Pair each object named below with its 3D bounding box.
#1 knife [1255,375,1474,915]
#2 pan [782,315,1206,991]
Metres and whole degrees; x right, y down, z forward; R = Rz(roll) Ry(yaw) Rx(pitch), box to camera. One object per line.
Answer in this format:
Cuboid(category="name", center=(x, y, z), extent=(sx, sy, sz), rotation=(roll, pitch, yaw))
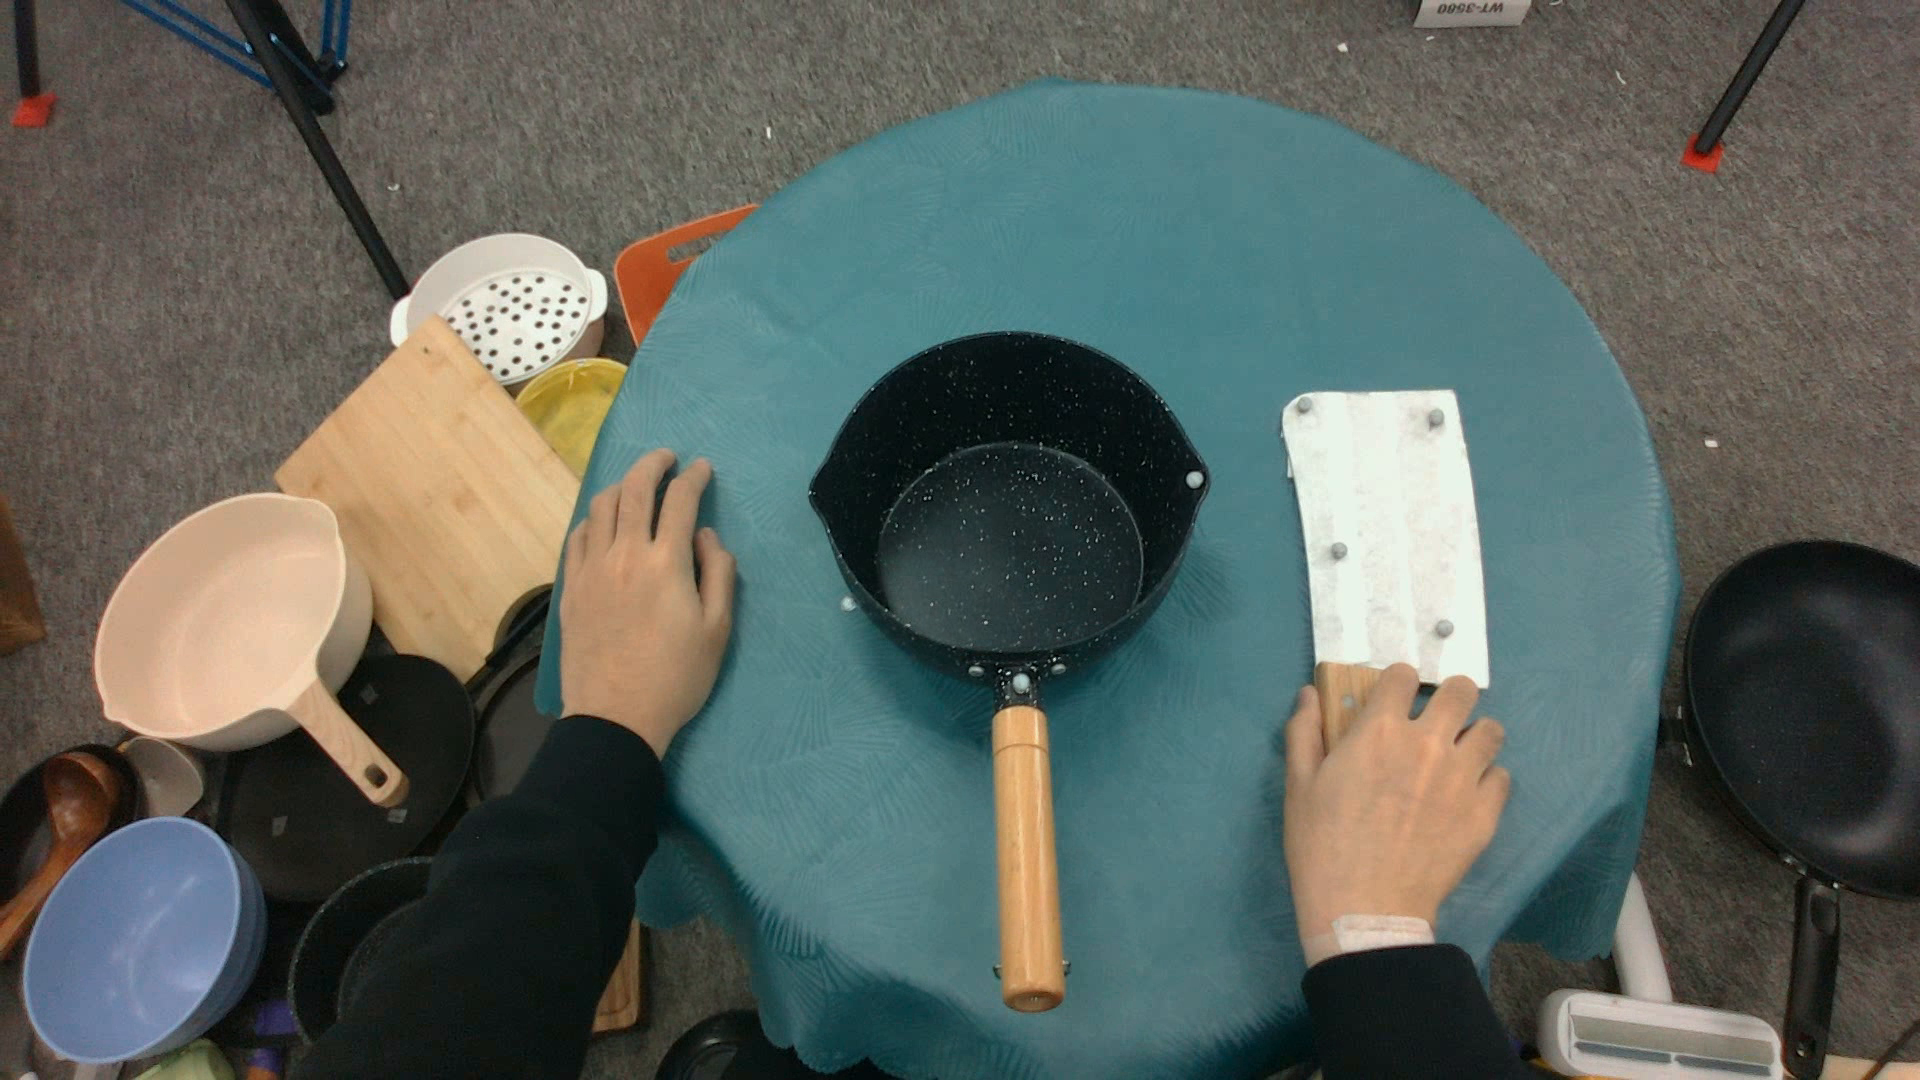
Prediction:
Cuboid(category="knife", center=(0.208, 0.038, 0.716), extent=(0.114, 0.021, 0.317), rotation=(6, 60, 5))
Cuboid(category="pan", center=(0.022, 0.048, 0.665), extent=(0.207, 0.108, 0.344), rotation=(-4, 61, -1))
